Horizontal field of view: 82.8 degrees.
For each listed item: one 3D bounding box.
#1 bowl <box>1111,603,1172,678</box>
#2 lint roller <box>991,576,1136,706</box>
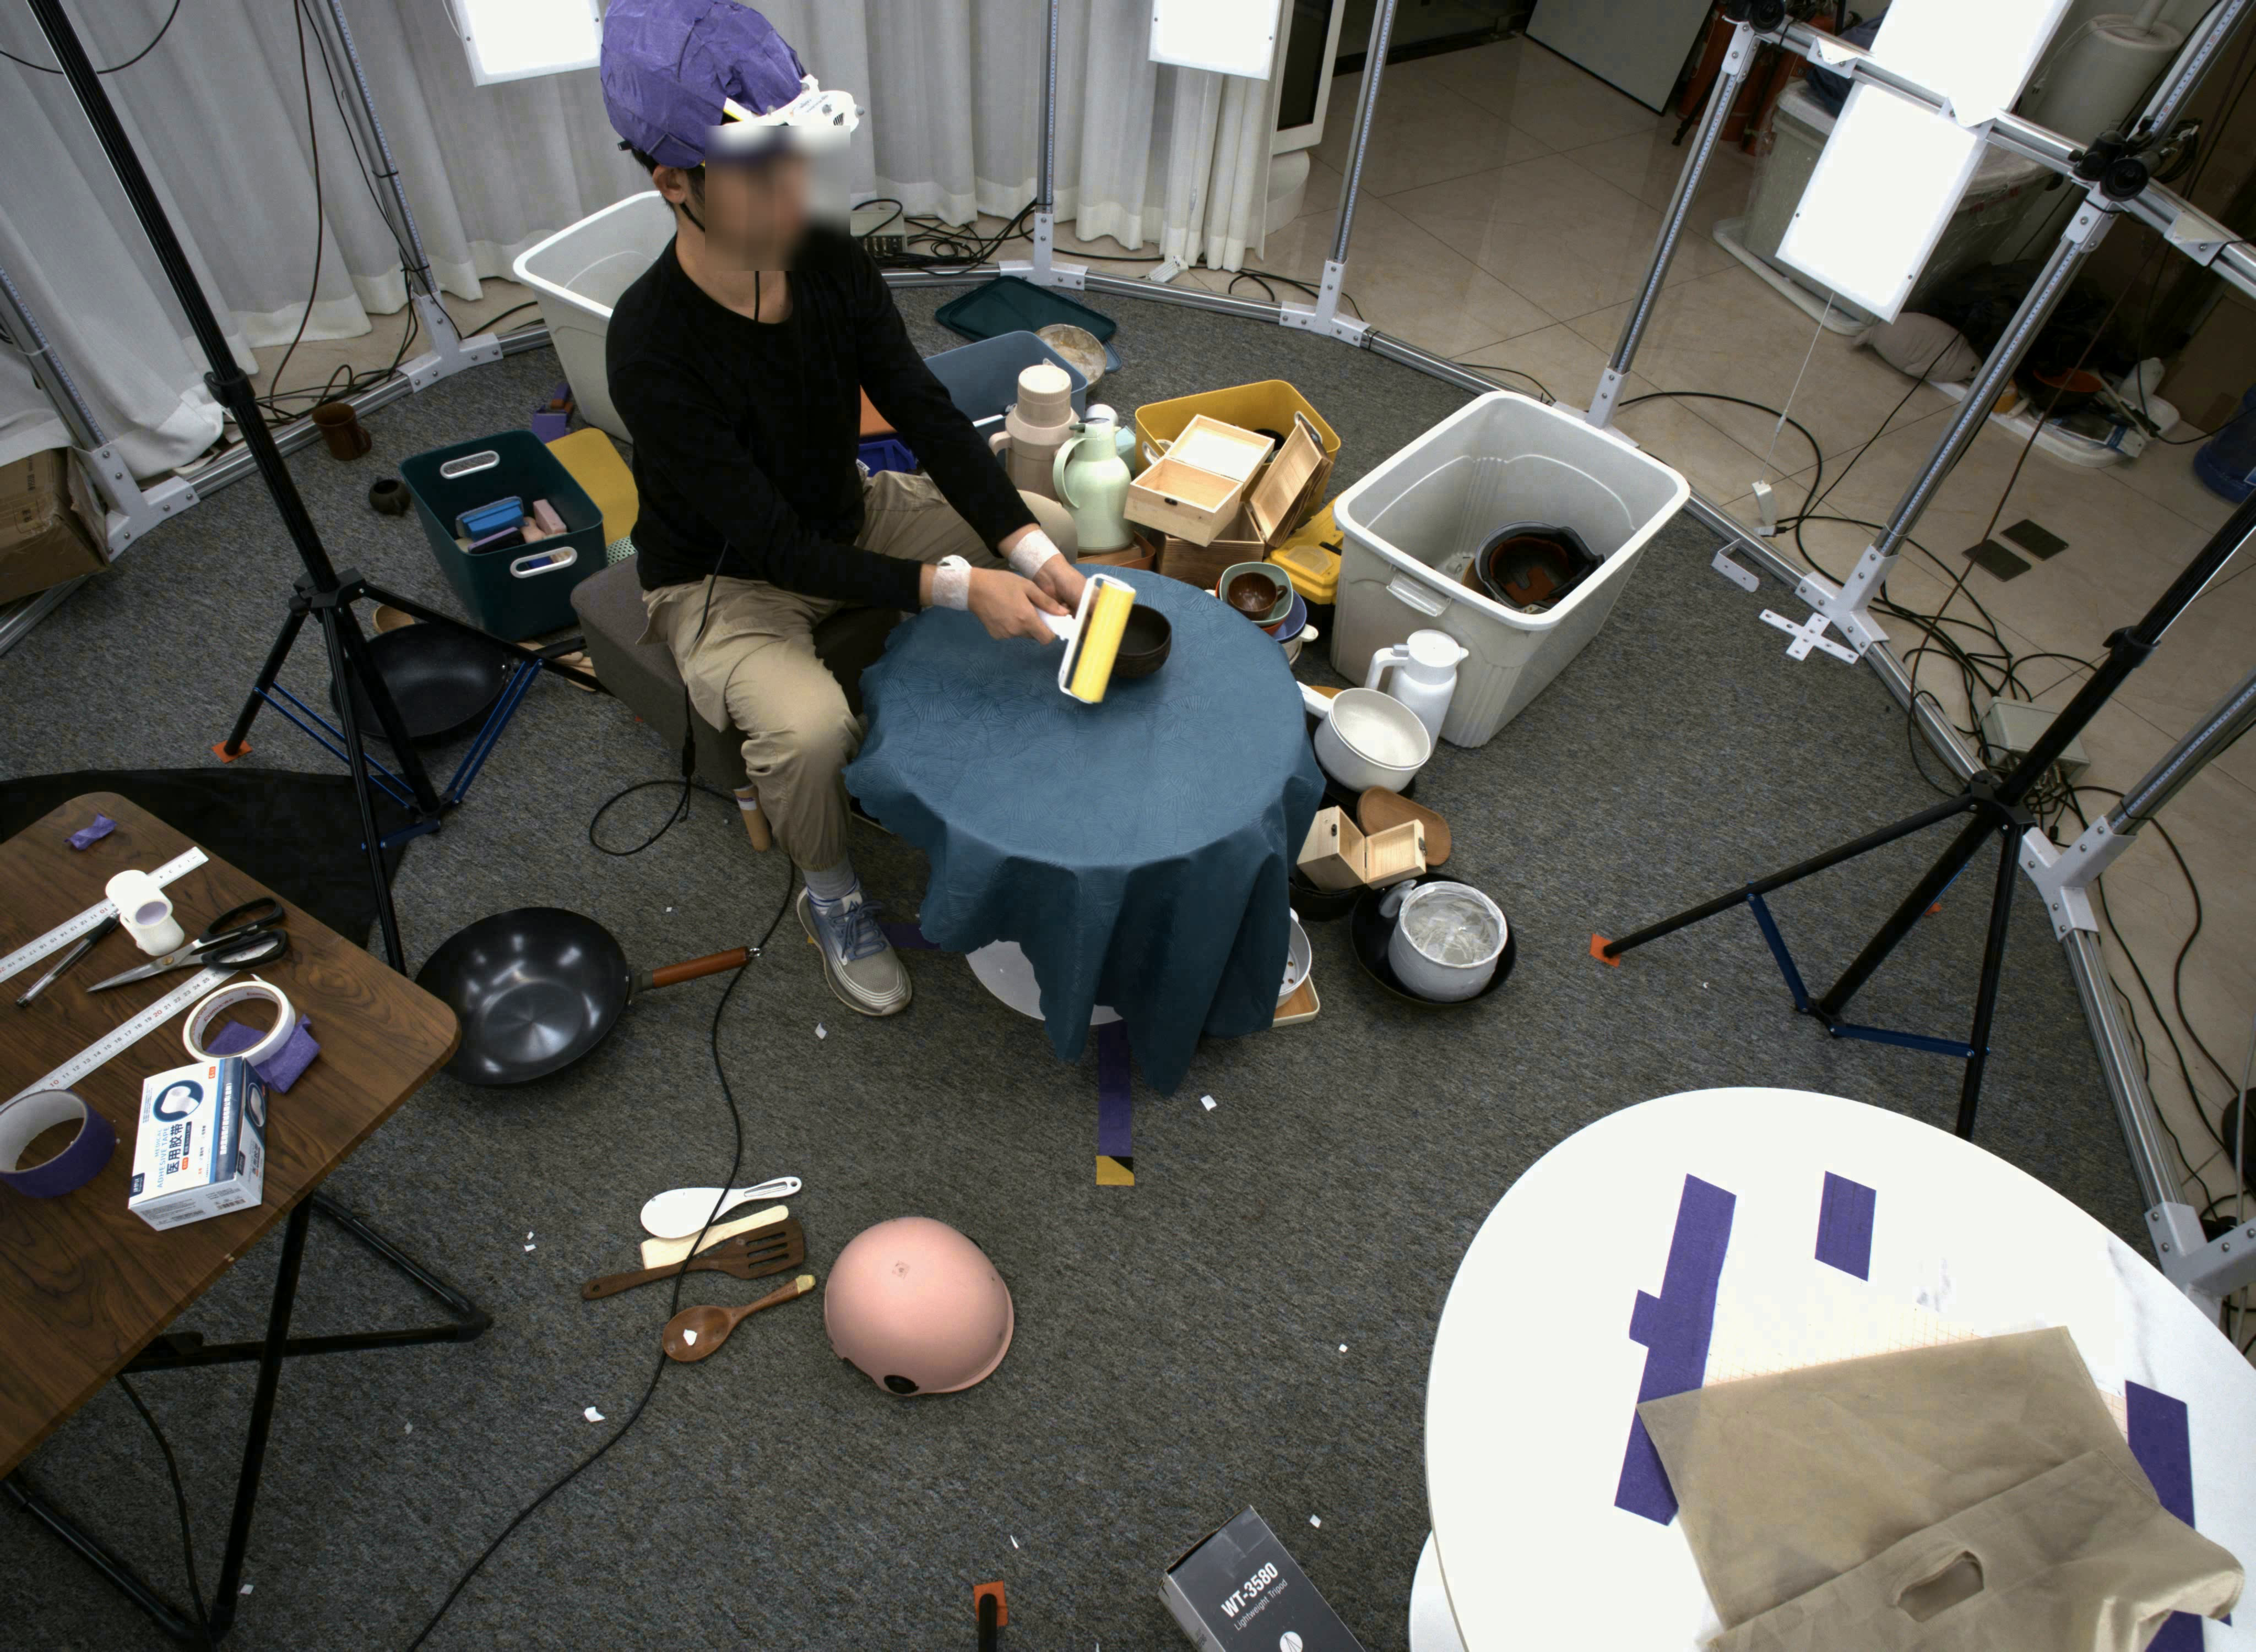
[{"bbox_3d":[0.003,-0.258,1.846,0.118,0.068,0.121,2,46,-2],"label":"bowl"},{"bbox_3d":[-0.101,-0.273,1.776,0.192,0.172,0.052,17,17,3],"label":"lint roller"}]
